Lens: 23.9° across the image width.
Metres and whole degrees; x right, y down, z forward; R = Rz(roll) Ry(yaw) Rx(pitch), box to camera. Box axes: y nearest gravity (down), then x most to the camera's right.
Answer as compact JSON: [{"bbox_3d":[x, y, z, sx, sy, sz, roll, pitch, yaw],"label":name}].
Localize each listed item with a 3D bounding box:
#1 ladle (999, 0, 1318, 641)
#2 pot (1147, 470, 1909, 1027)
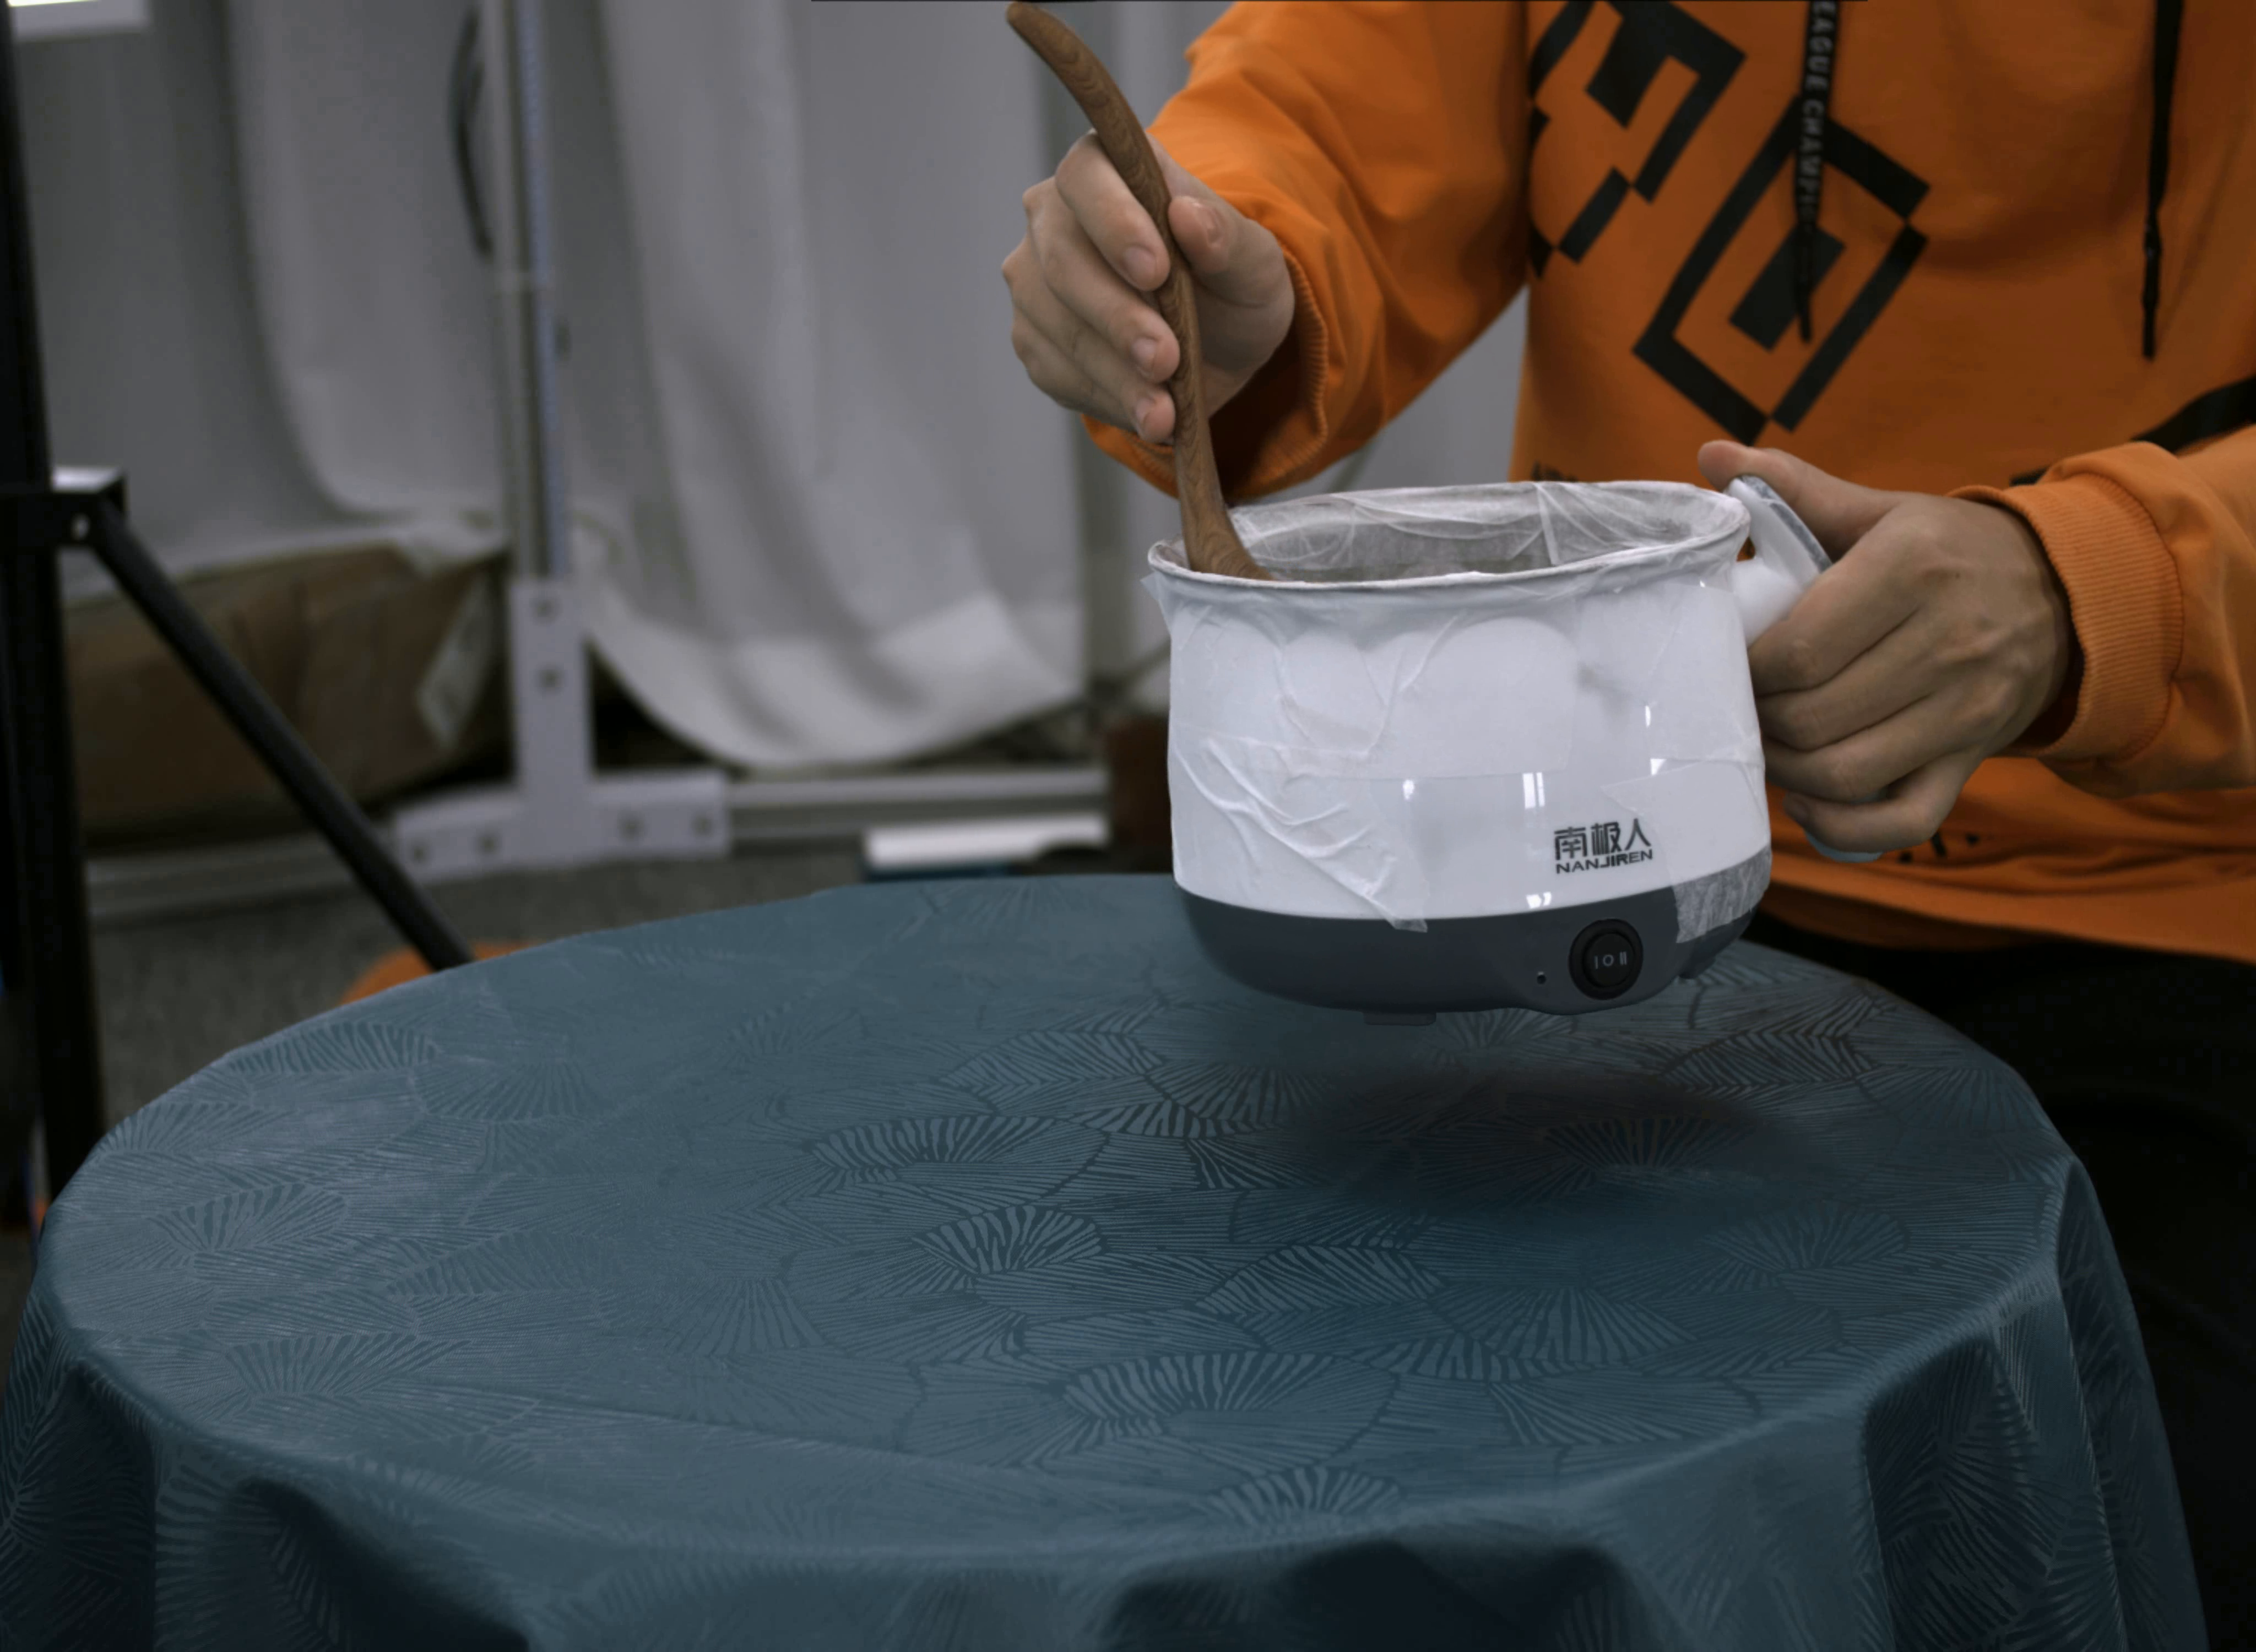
[{"bbox_3d":[0.031,-0.142,1.568,0.065,0.263,0.075,-21,-17,5],"label":"ladle"},{"bbox_3d":[0.123,-0.028,1.573,0.229,0.137,0.182,-9,12,-21],"label":"pot"}]
